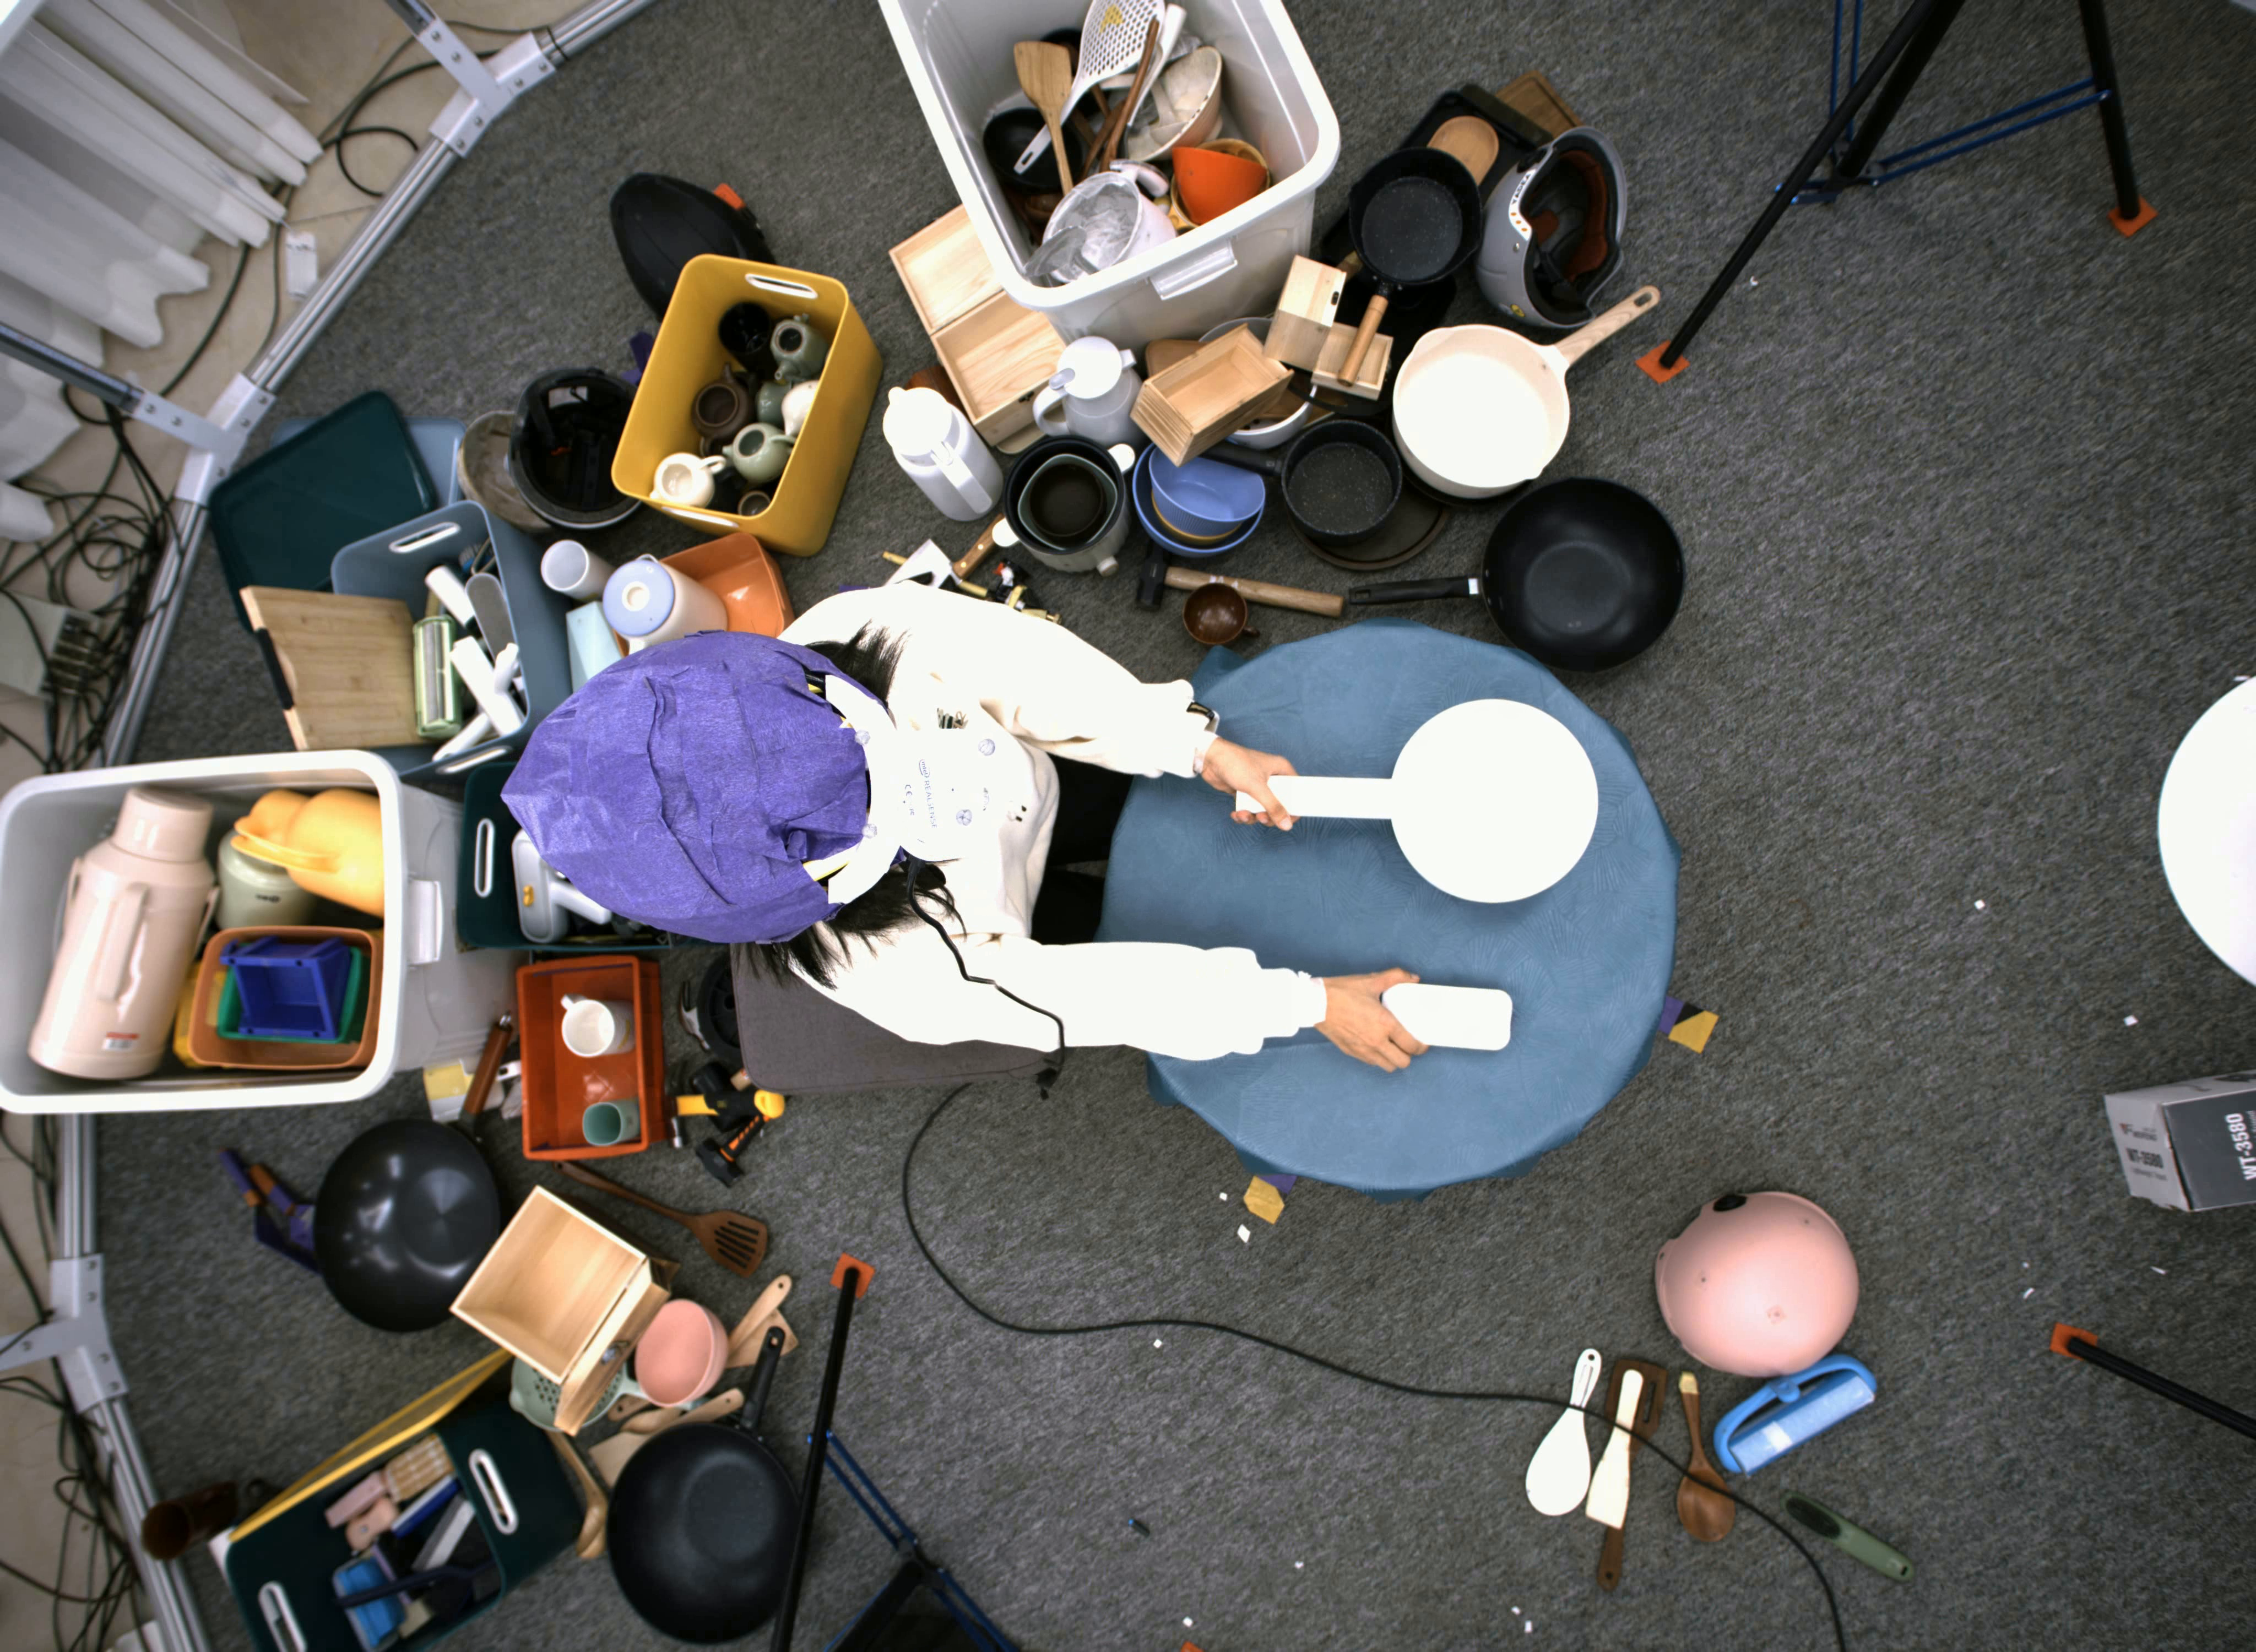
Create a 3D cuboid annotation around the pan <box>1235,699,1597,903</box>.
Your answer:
[{"bbox_3d":[0.291,-0.024,1.411,0.356,0.102,0.200,1,85,13],"label":"pan"}]

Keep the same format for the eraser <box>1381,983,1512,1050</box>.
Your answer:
[{"bbox_3d":[0.329,0.193,1.426,0.132,0.034,0.063,4,87,10],"label":"eraser"}]
